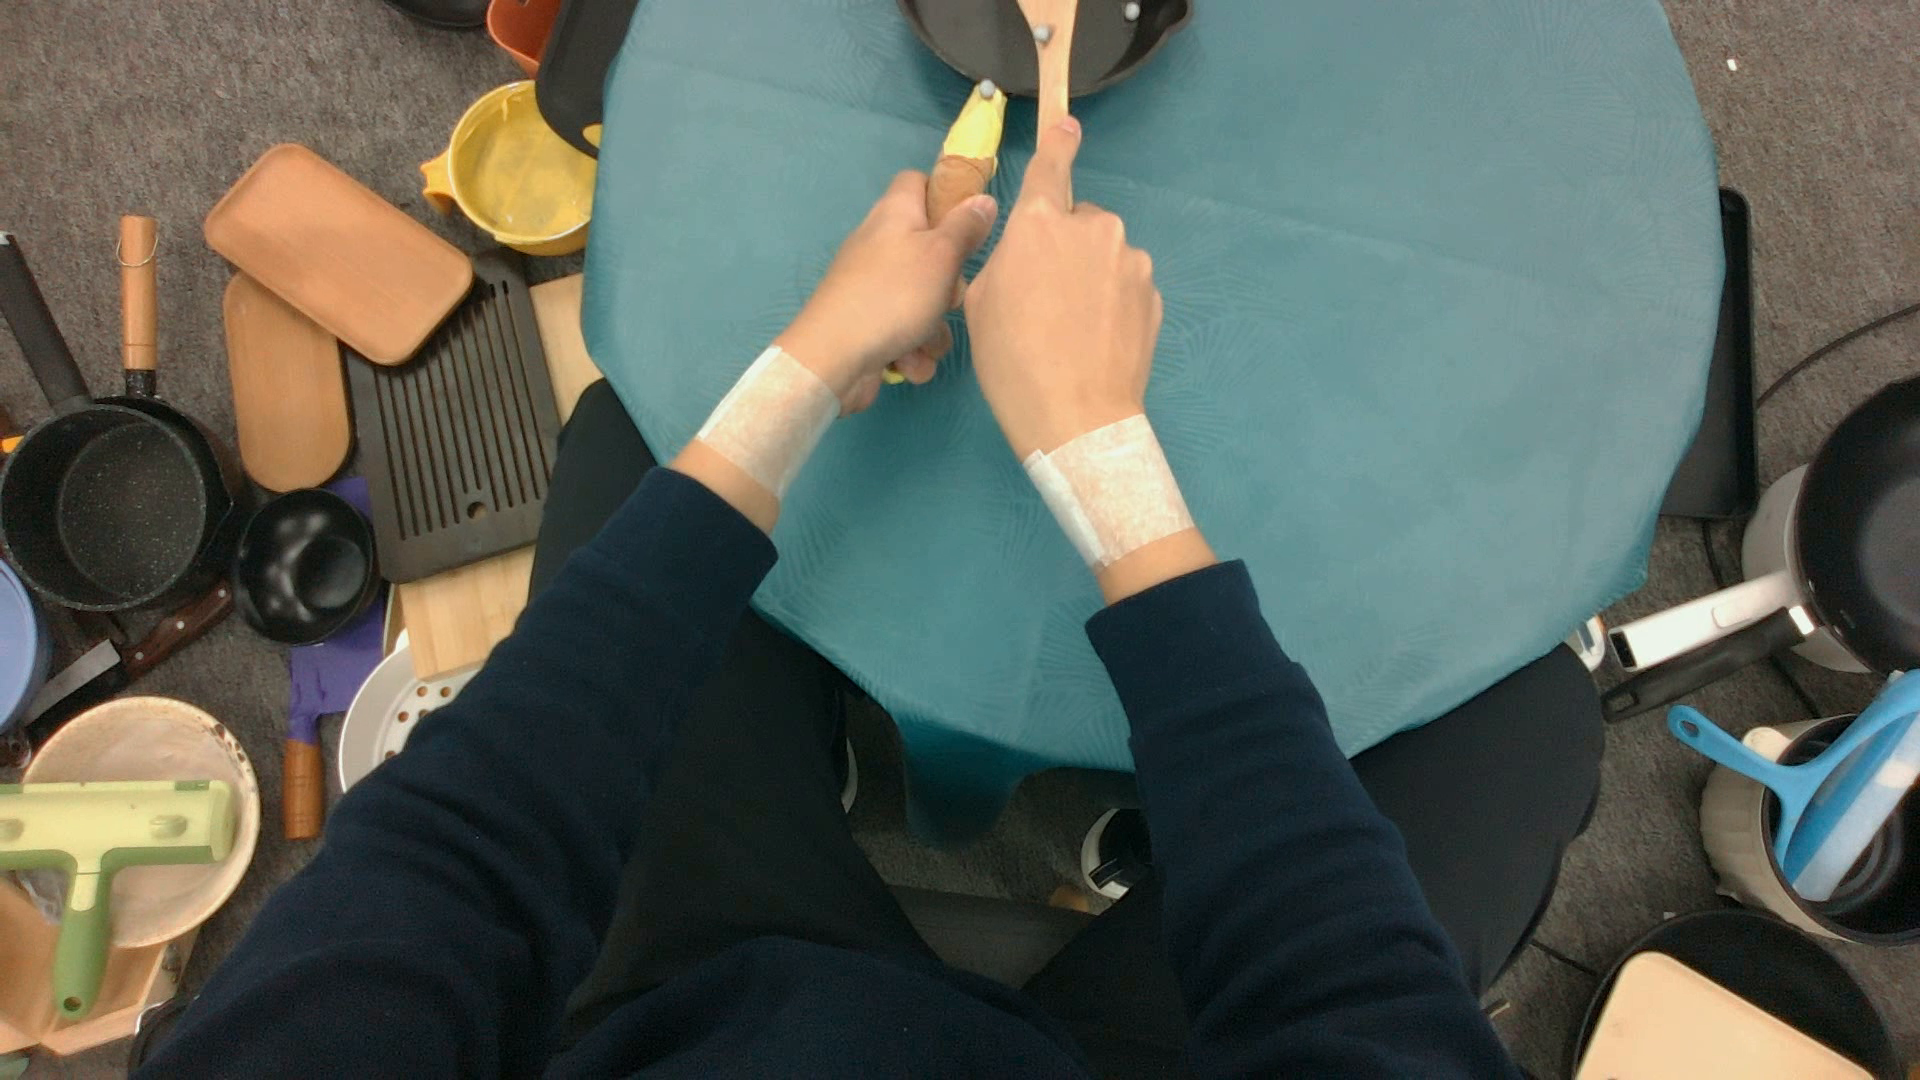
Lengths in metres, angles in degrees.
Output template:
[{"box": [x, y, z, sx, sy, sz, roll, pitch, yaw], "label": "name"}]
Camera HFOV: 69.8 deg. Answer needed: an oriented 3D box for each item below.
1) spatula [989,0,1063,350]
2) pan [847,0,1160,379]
[{"box": [0.027, -0.231, 0.658, 0.016, 0.079, 0.329, 16, 59, -32], "label": "spatula"}, {"box": [-0.002, -0.223, 0.693, 0.169, 0.049, 0.325, 19, 73, -3], "label": "pan"}]
